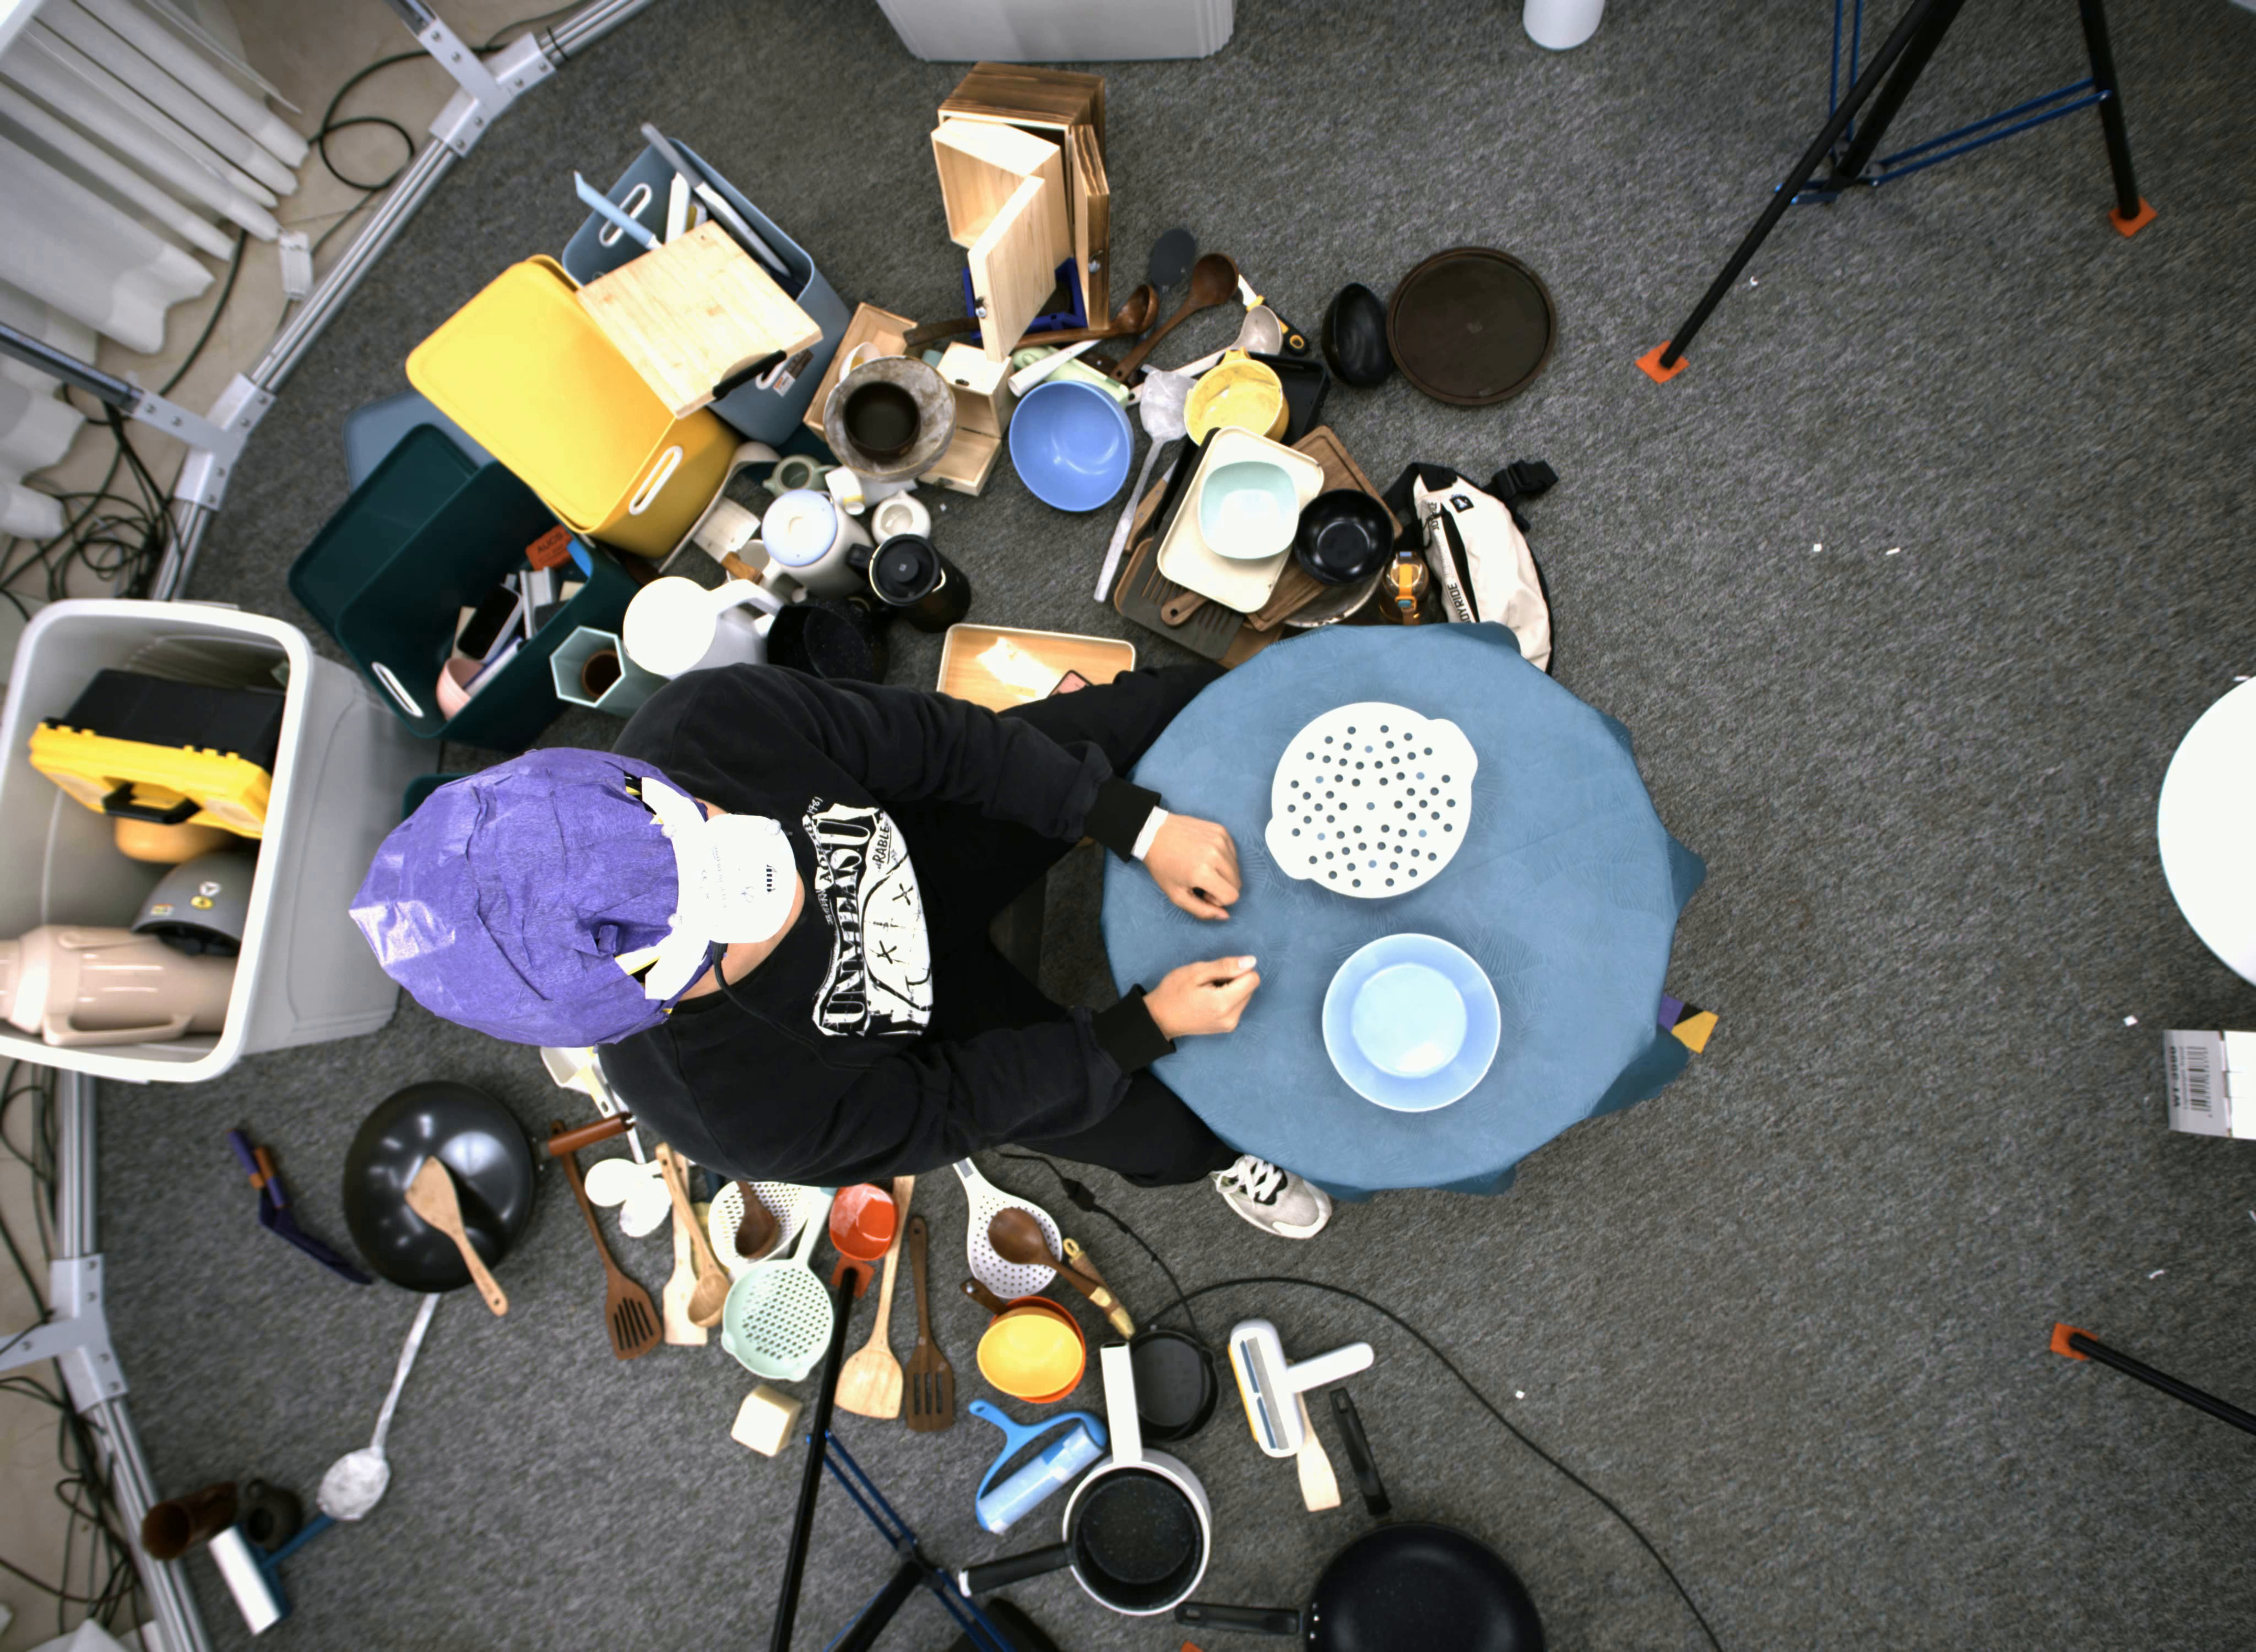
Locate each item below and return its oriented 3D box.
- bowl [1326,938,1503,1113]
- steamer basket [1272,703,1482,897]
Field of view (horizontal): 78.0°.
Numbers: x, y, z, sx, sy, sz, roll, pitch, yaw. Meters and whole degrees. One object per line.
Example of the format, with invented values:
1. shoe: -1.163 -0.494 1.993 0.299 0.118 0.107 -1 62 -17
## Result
1. bowl: 0.292 0.202 1.416 0.177 0.070 0.175 -1 85 11
2. steamer basket: 0.259 -0.026 1.439 0.231 0.069 0.200 -32 81 4
